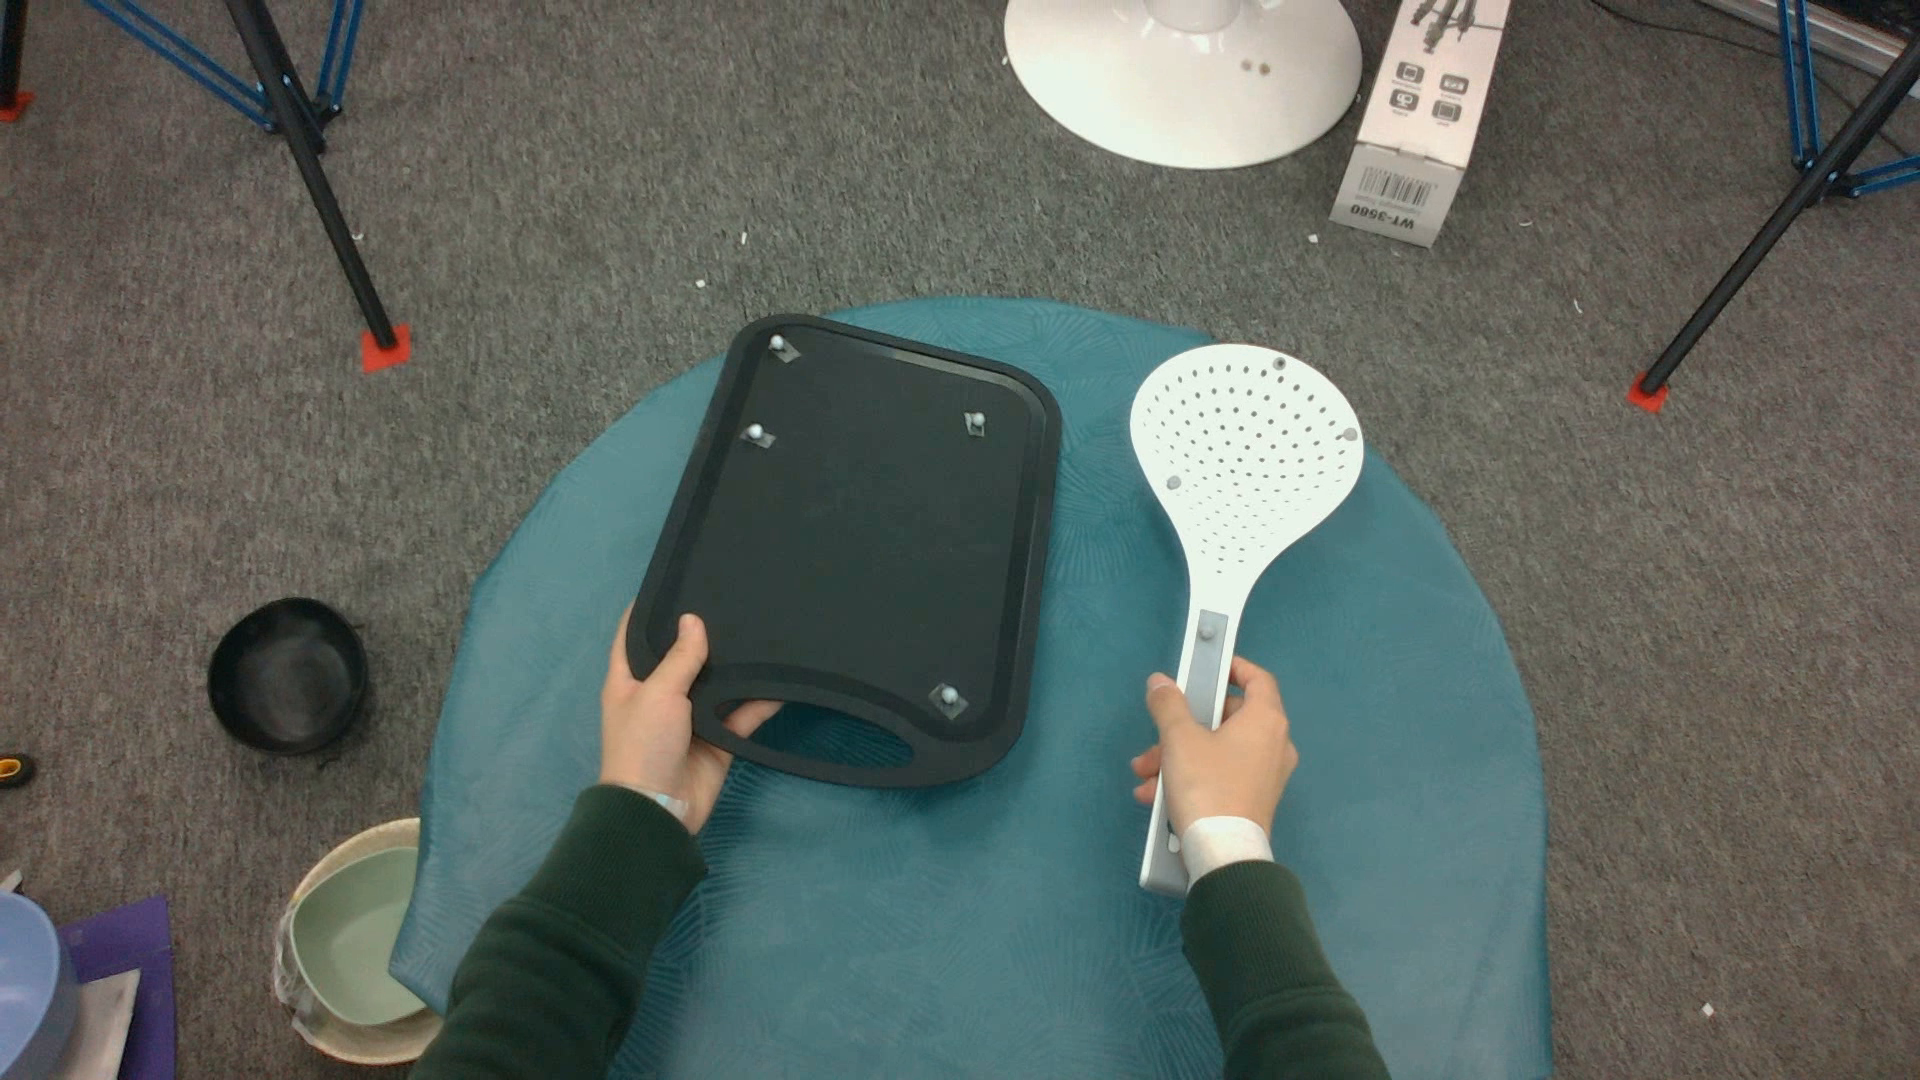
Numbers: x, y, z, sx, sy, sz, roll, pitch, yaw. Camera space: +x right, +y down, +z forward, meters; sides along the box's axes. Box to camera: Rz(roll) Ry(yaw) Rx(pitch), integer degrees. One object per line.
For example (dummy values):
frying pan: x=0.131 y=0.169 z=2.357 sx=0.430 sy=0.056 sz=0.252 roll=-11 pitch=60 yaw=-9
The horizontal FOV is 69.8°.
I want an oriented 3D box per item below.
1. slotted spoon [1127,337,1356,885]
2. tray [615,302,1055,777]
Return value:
slotted spoon: x=0.138 y=0.023 z=0.756 sx=0.136 sy=0.045 sz=0.351 roll=13 pitch=52 yaw=6
tray: x=-0.057 y=-0.013 z=0.767 sx=0.211 sy=0.010 sz=0.327 roll=14 pitch=49 yaw=-4
